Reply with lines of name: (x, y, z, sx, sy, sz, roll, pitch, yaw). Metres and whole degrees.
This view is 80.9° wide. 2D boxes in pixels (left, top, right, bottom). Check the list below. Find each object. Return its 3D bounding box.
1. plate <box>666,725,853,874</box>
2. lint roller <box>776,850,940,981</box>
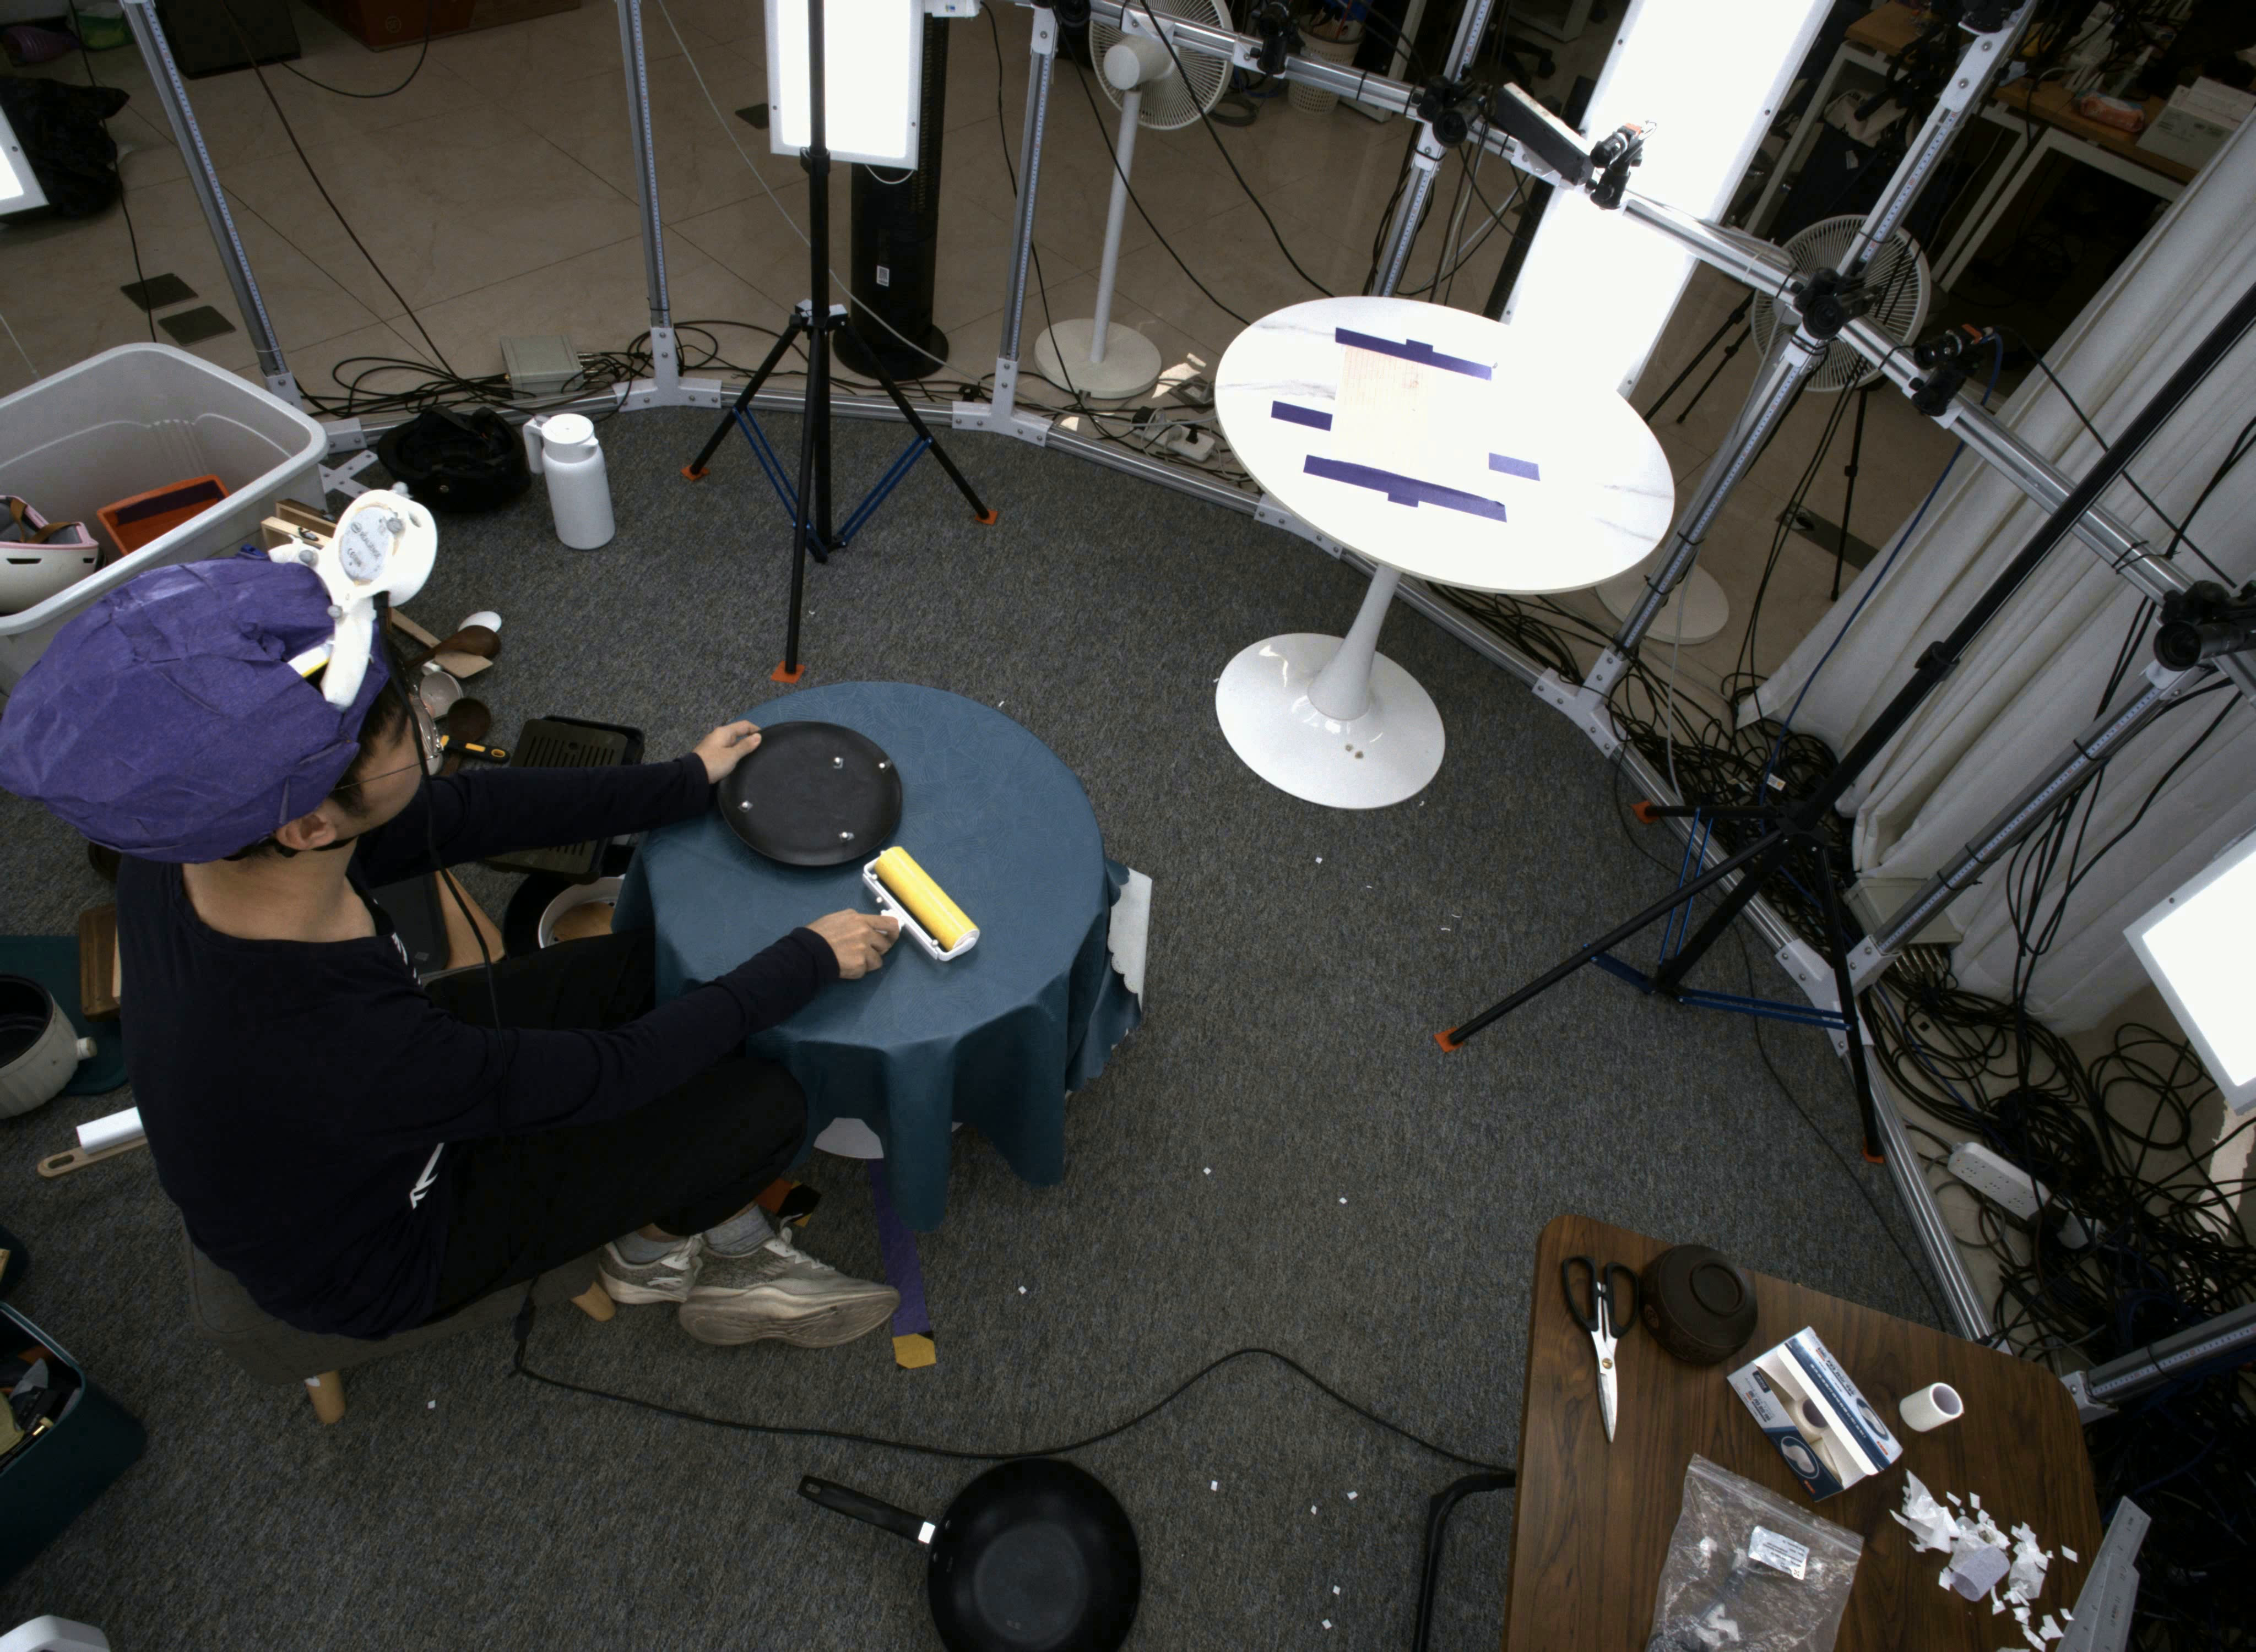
plate: (-0.489, -0.034, 1.719, 0.245, 0.024, 0.240, 11, 53, -13)
lint roller: (-0.357, 0.126, 1.614, 0.170, 0.052, 0.193, 40, 44, 17)
